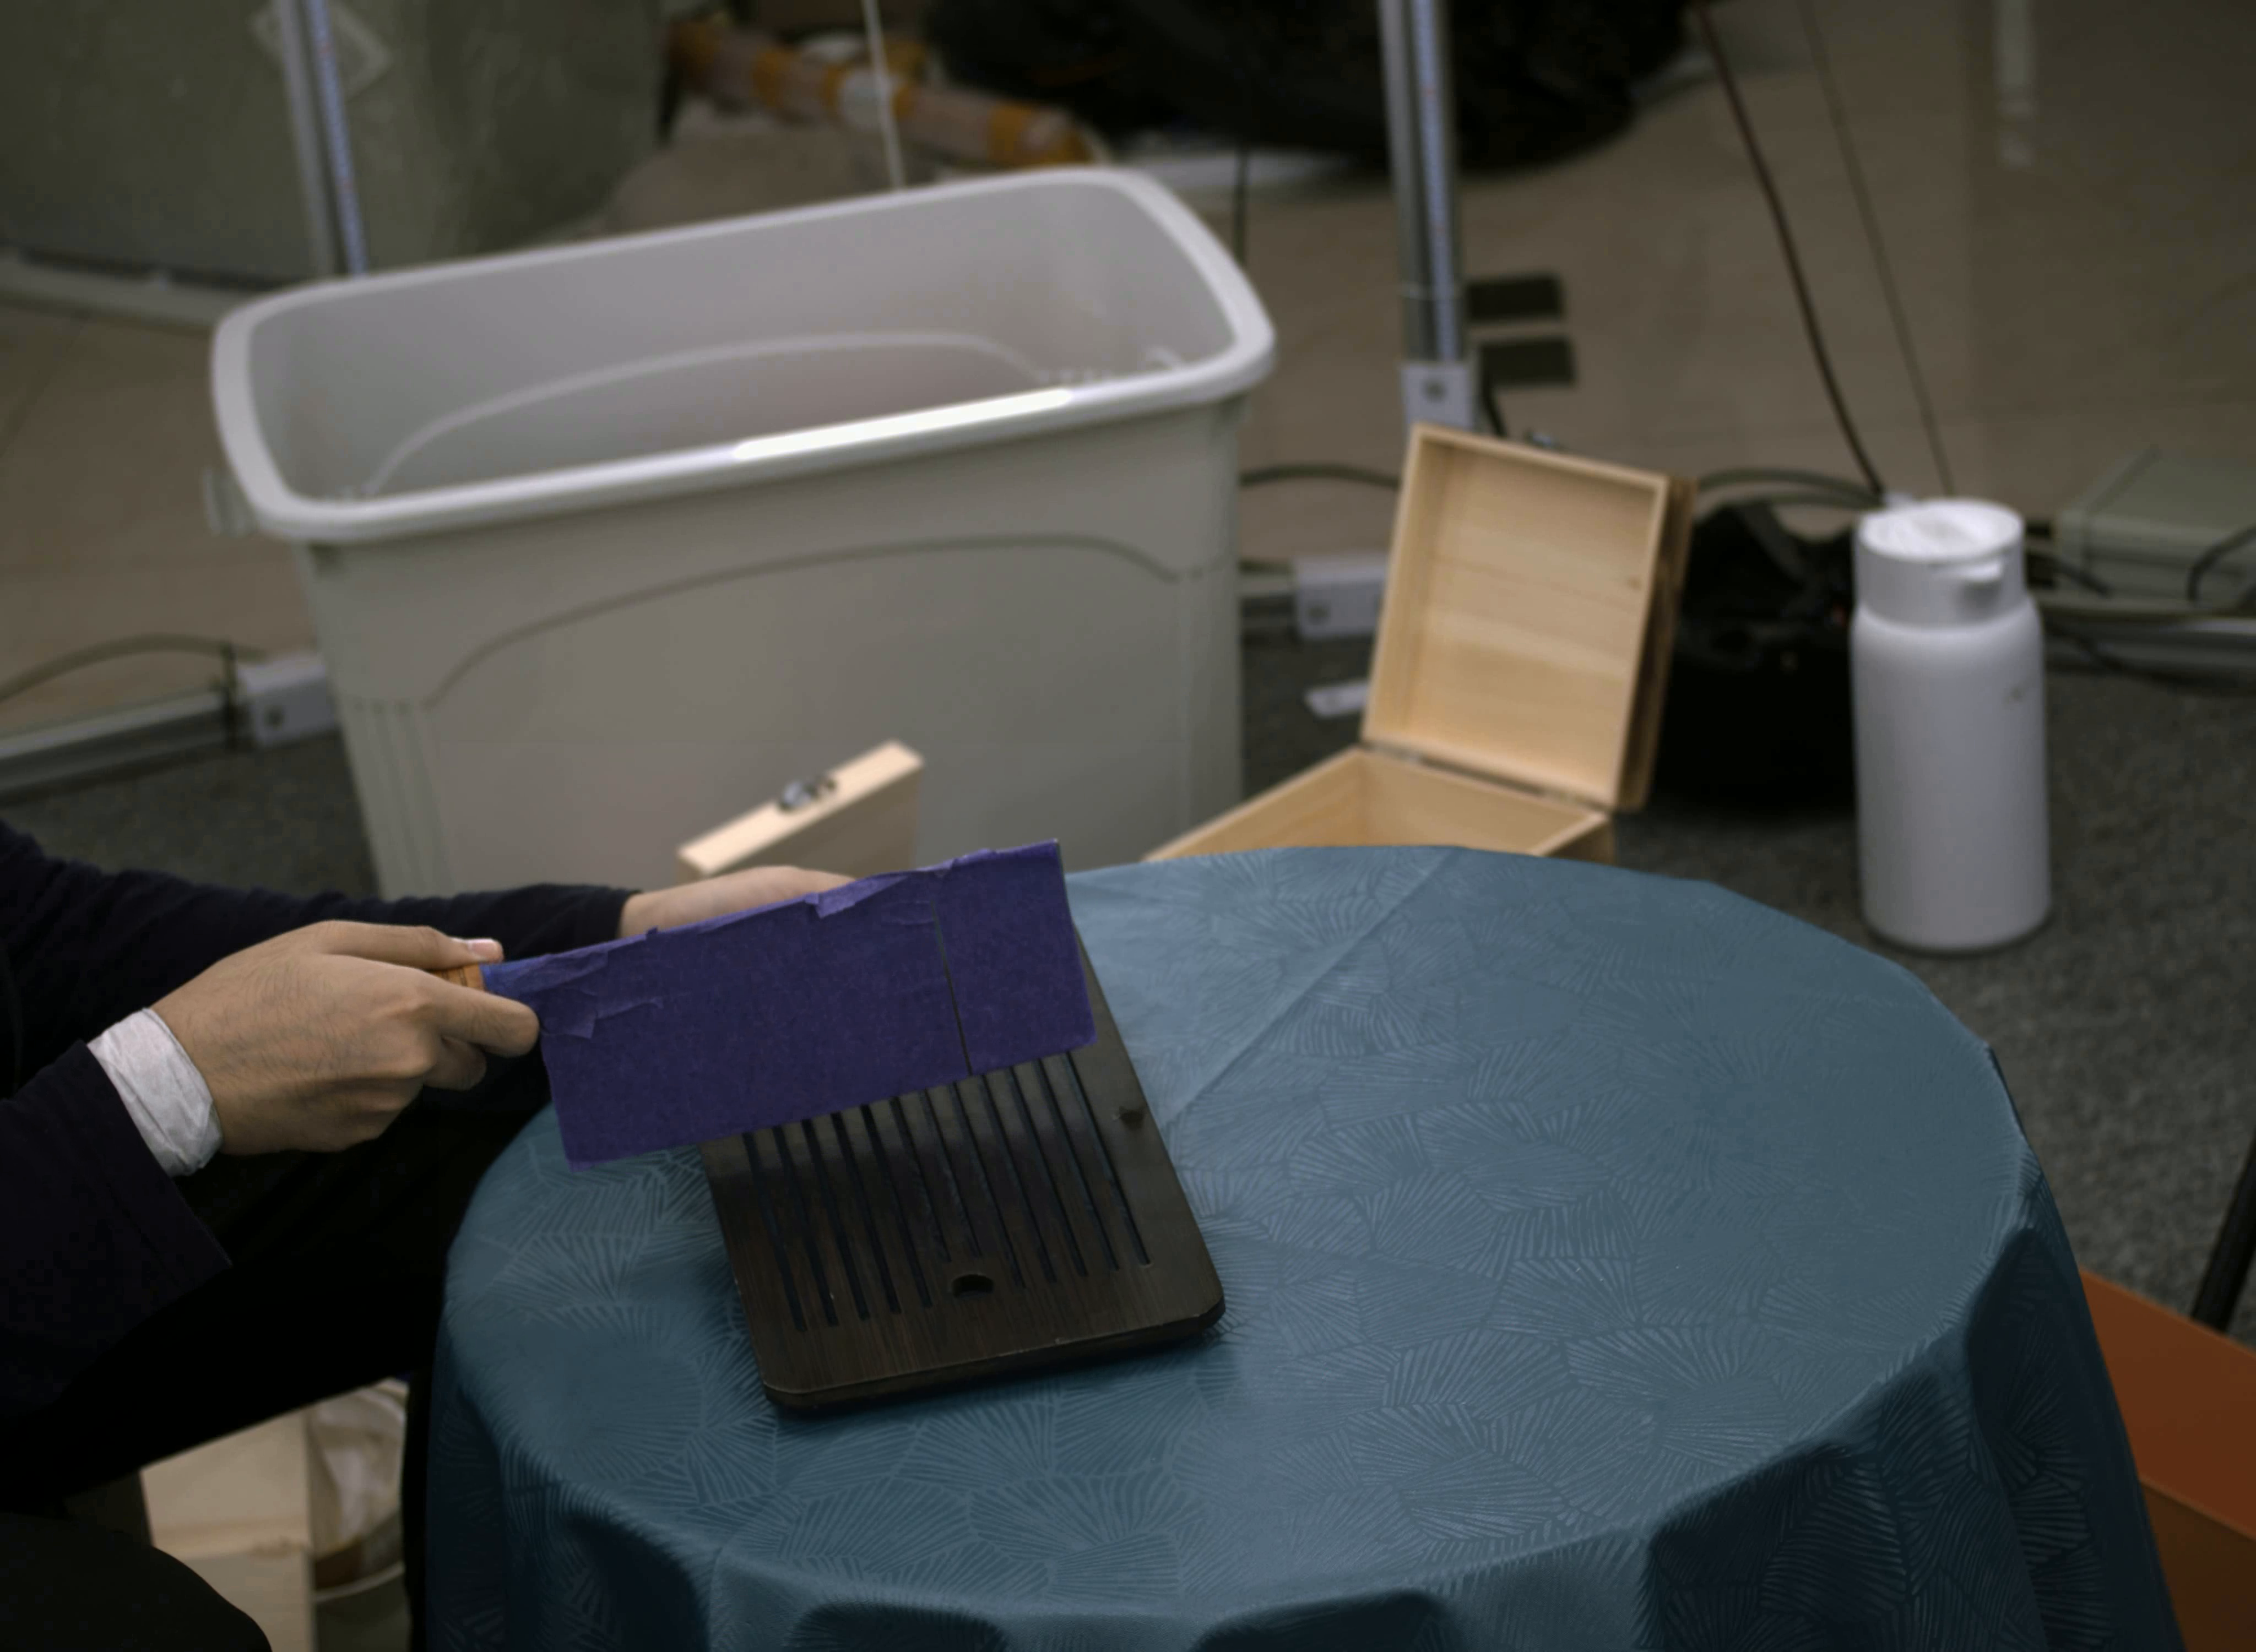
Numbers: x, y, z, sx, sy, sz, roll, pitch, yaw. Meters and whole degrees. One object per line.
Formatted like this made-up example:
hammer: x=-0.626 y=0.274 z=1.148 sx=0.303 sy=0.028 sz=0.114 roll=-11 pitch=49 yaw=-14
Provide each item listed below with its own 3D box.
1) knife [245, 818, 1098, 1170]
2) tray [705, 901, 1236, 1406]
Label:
knife: x=-0.166 y=0.079 z=2.118 sx=0.314 sy=0.105 sz=0.032 roll=-13 pitch=25 yaw=-5
tray: x=-0.073 y=0.121 z=2.153 sx=0.170 sy=0.019 sz=0.301 roll=-10 pitch=31 yaw=-8
